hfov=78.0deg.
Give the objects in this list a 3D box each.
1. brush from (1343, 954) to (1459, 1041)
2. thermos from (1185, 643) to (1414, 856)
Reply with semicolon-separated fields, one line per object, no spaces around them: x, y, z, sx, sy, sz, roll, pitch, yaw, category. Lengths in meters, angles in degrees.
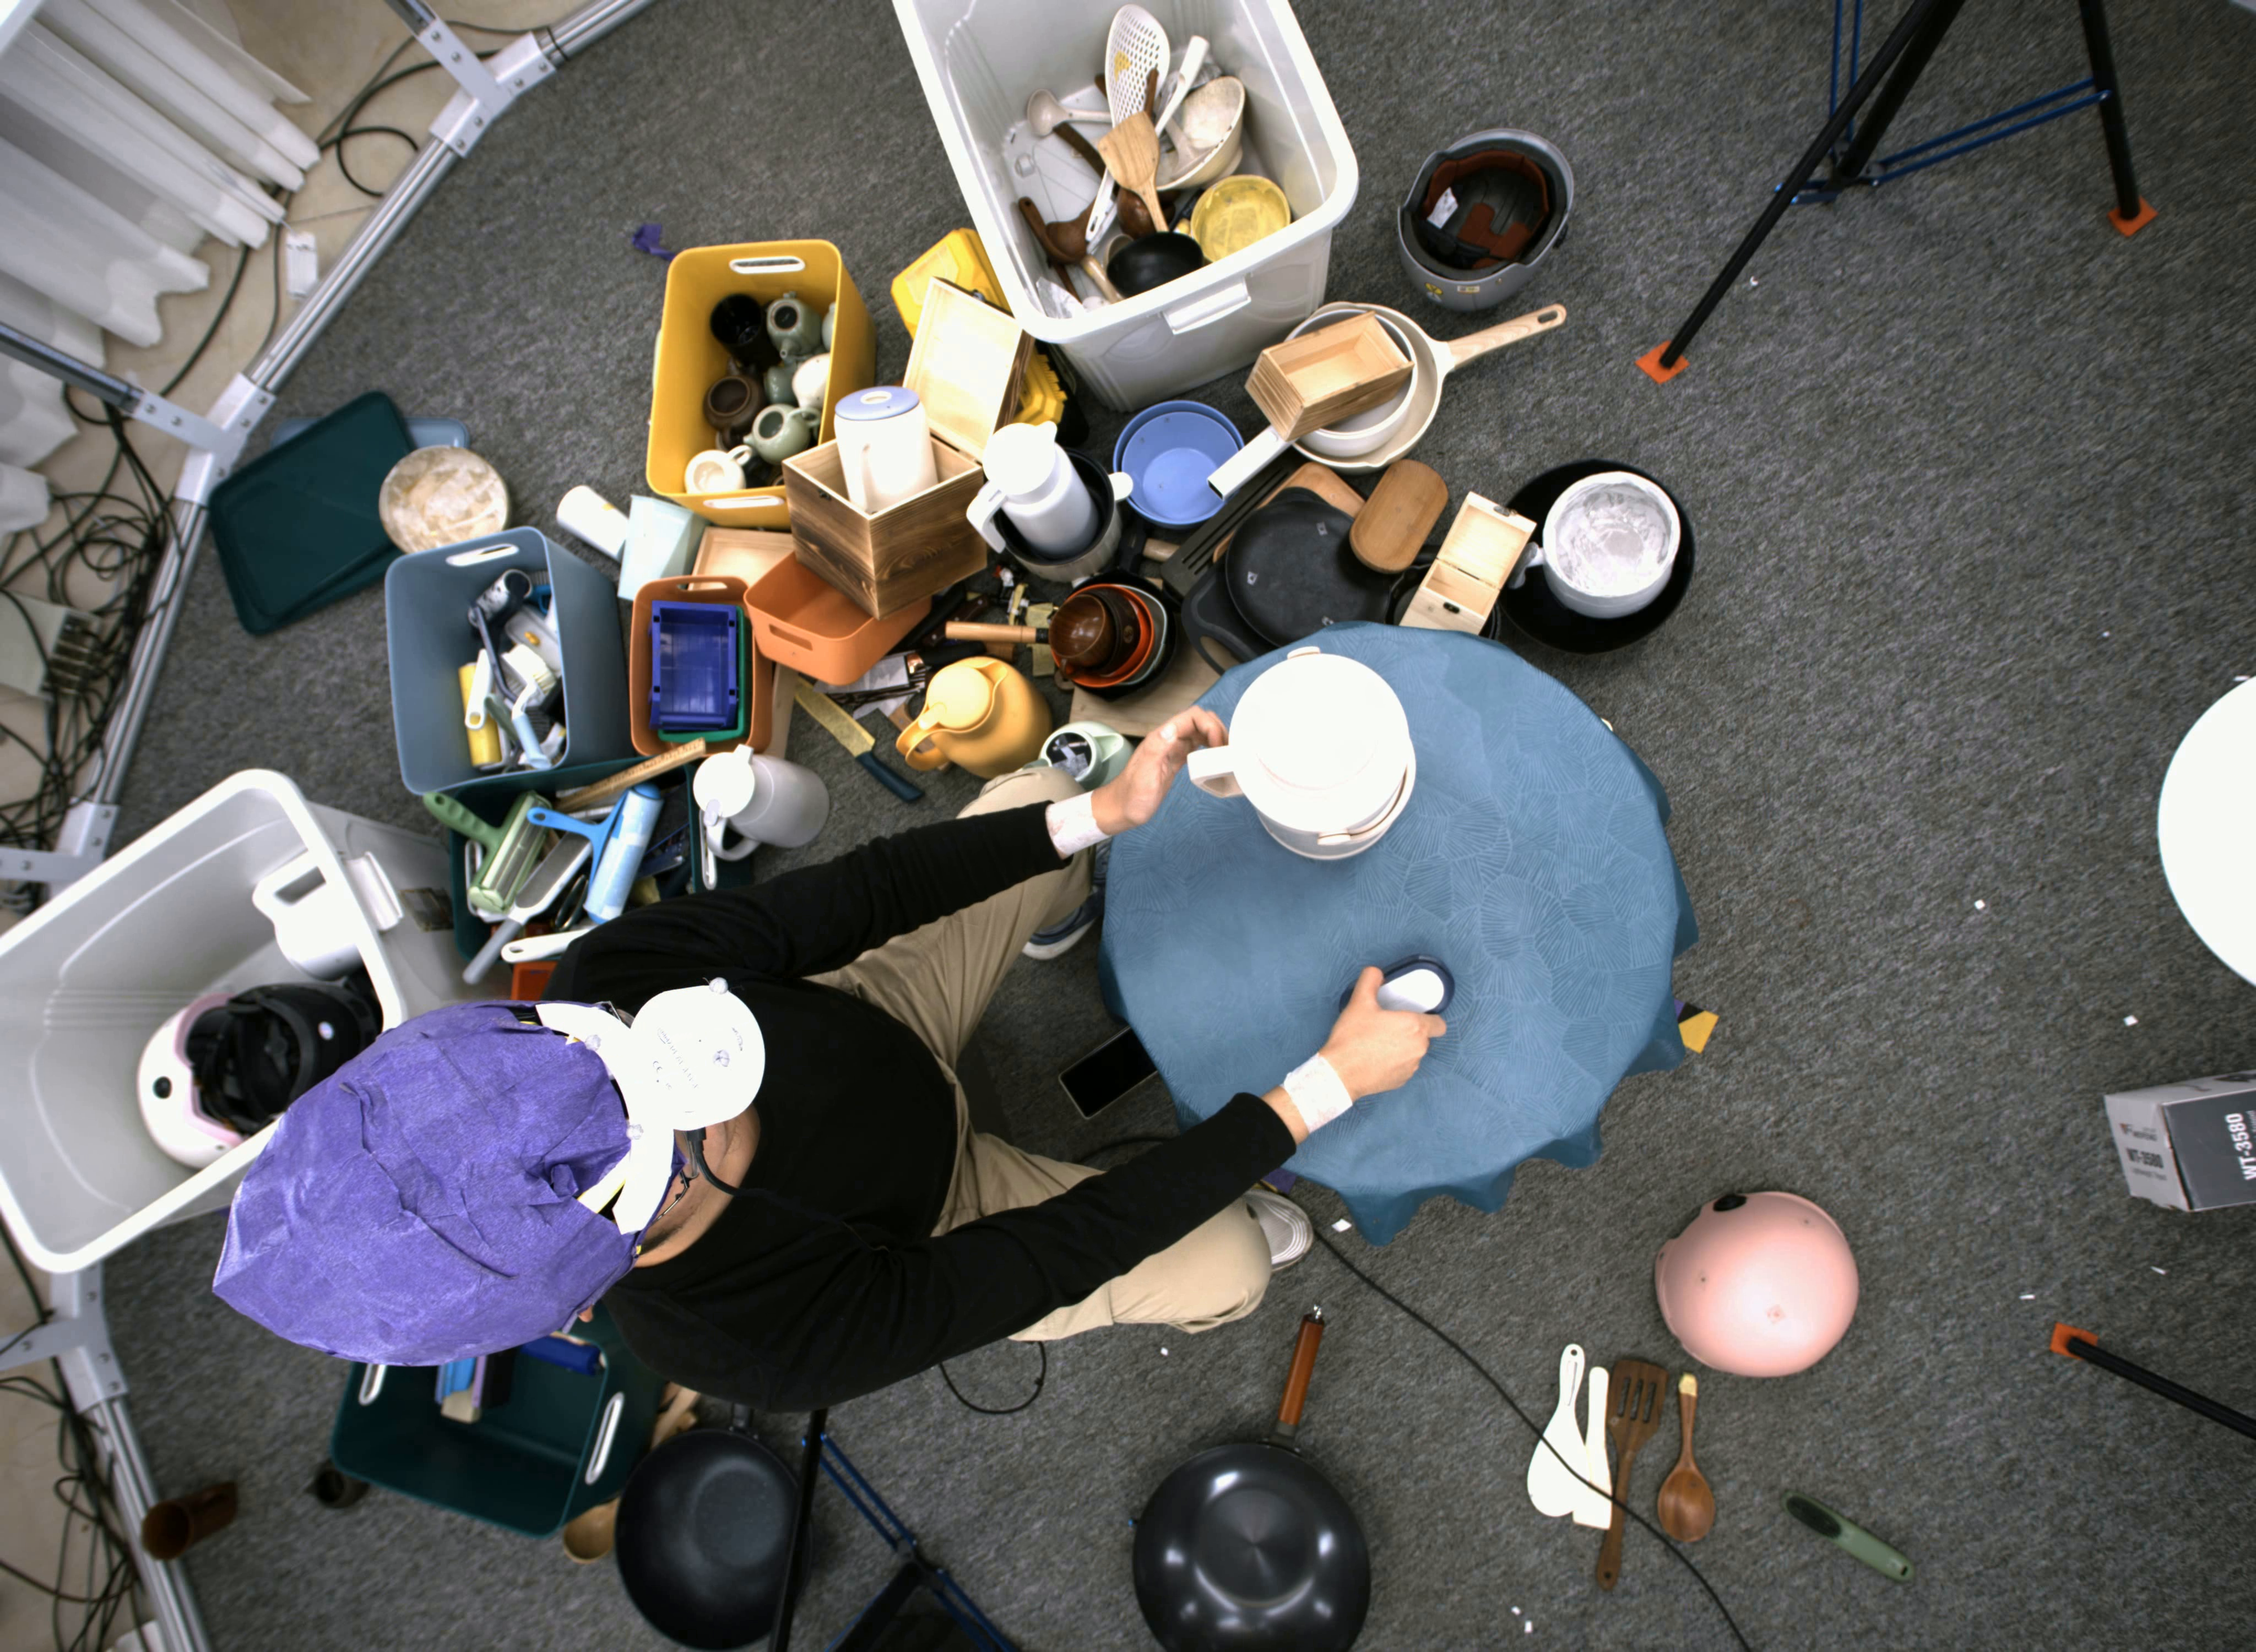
0.277;0.174;1.406;0.122;0.061;0.068;-24;87;11;brush
0.164;-0.065;1.286;0.208;0.406;0.174;-10;84;8;thermos
